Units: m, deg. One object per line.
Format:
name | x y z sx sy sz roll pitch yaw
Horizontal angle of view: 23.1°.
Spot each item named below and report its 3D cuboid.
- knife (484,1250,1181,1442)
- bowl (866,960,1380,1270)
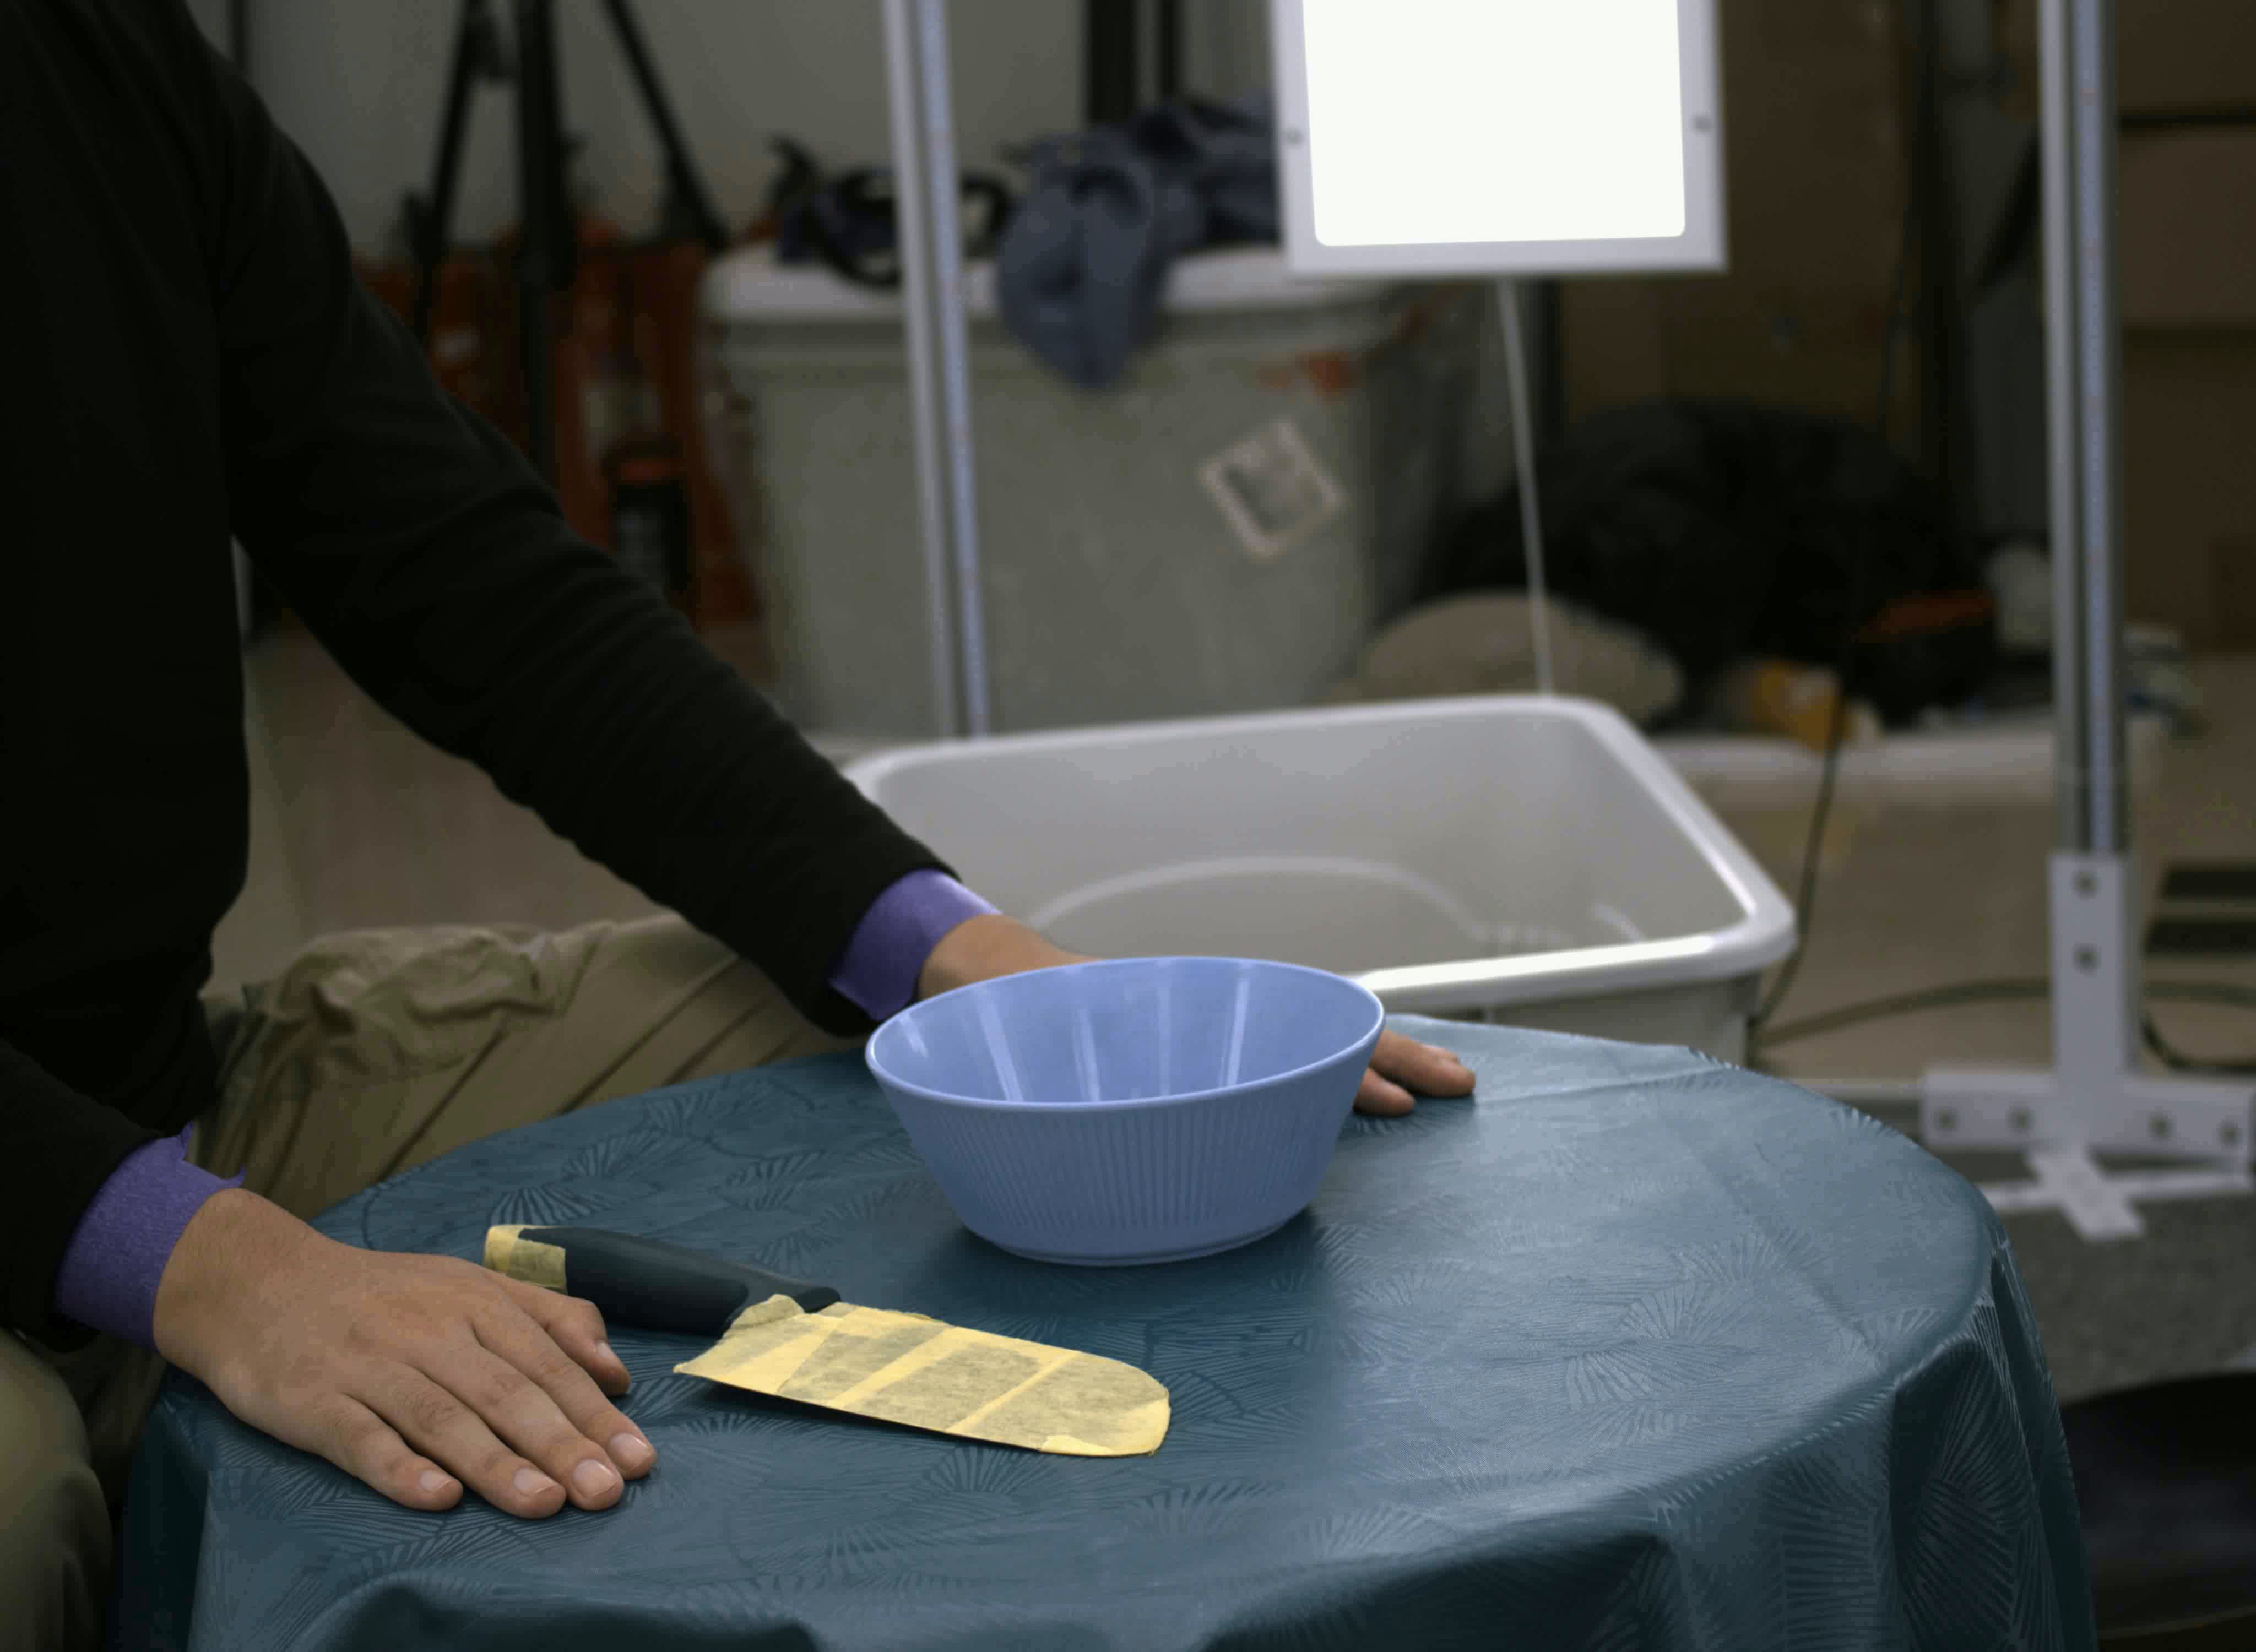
knife | -0.102 0.166 1.747 0.295 0.027 0.079 7 17 38
bowl | 0.001 0.100 1.863 0.175 0.070 0.176 -5 14 0
